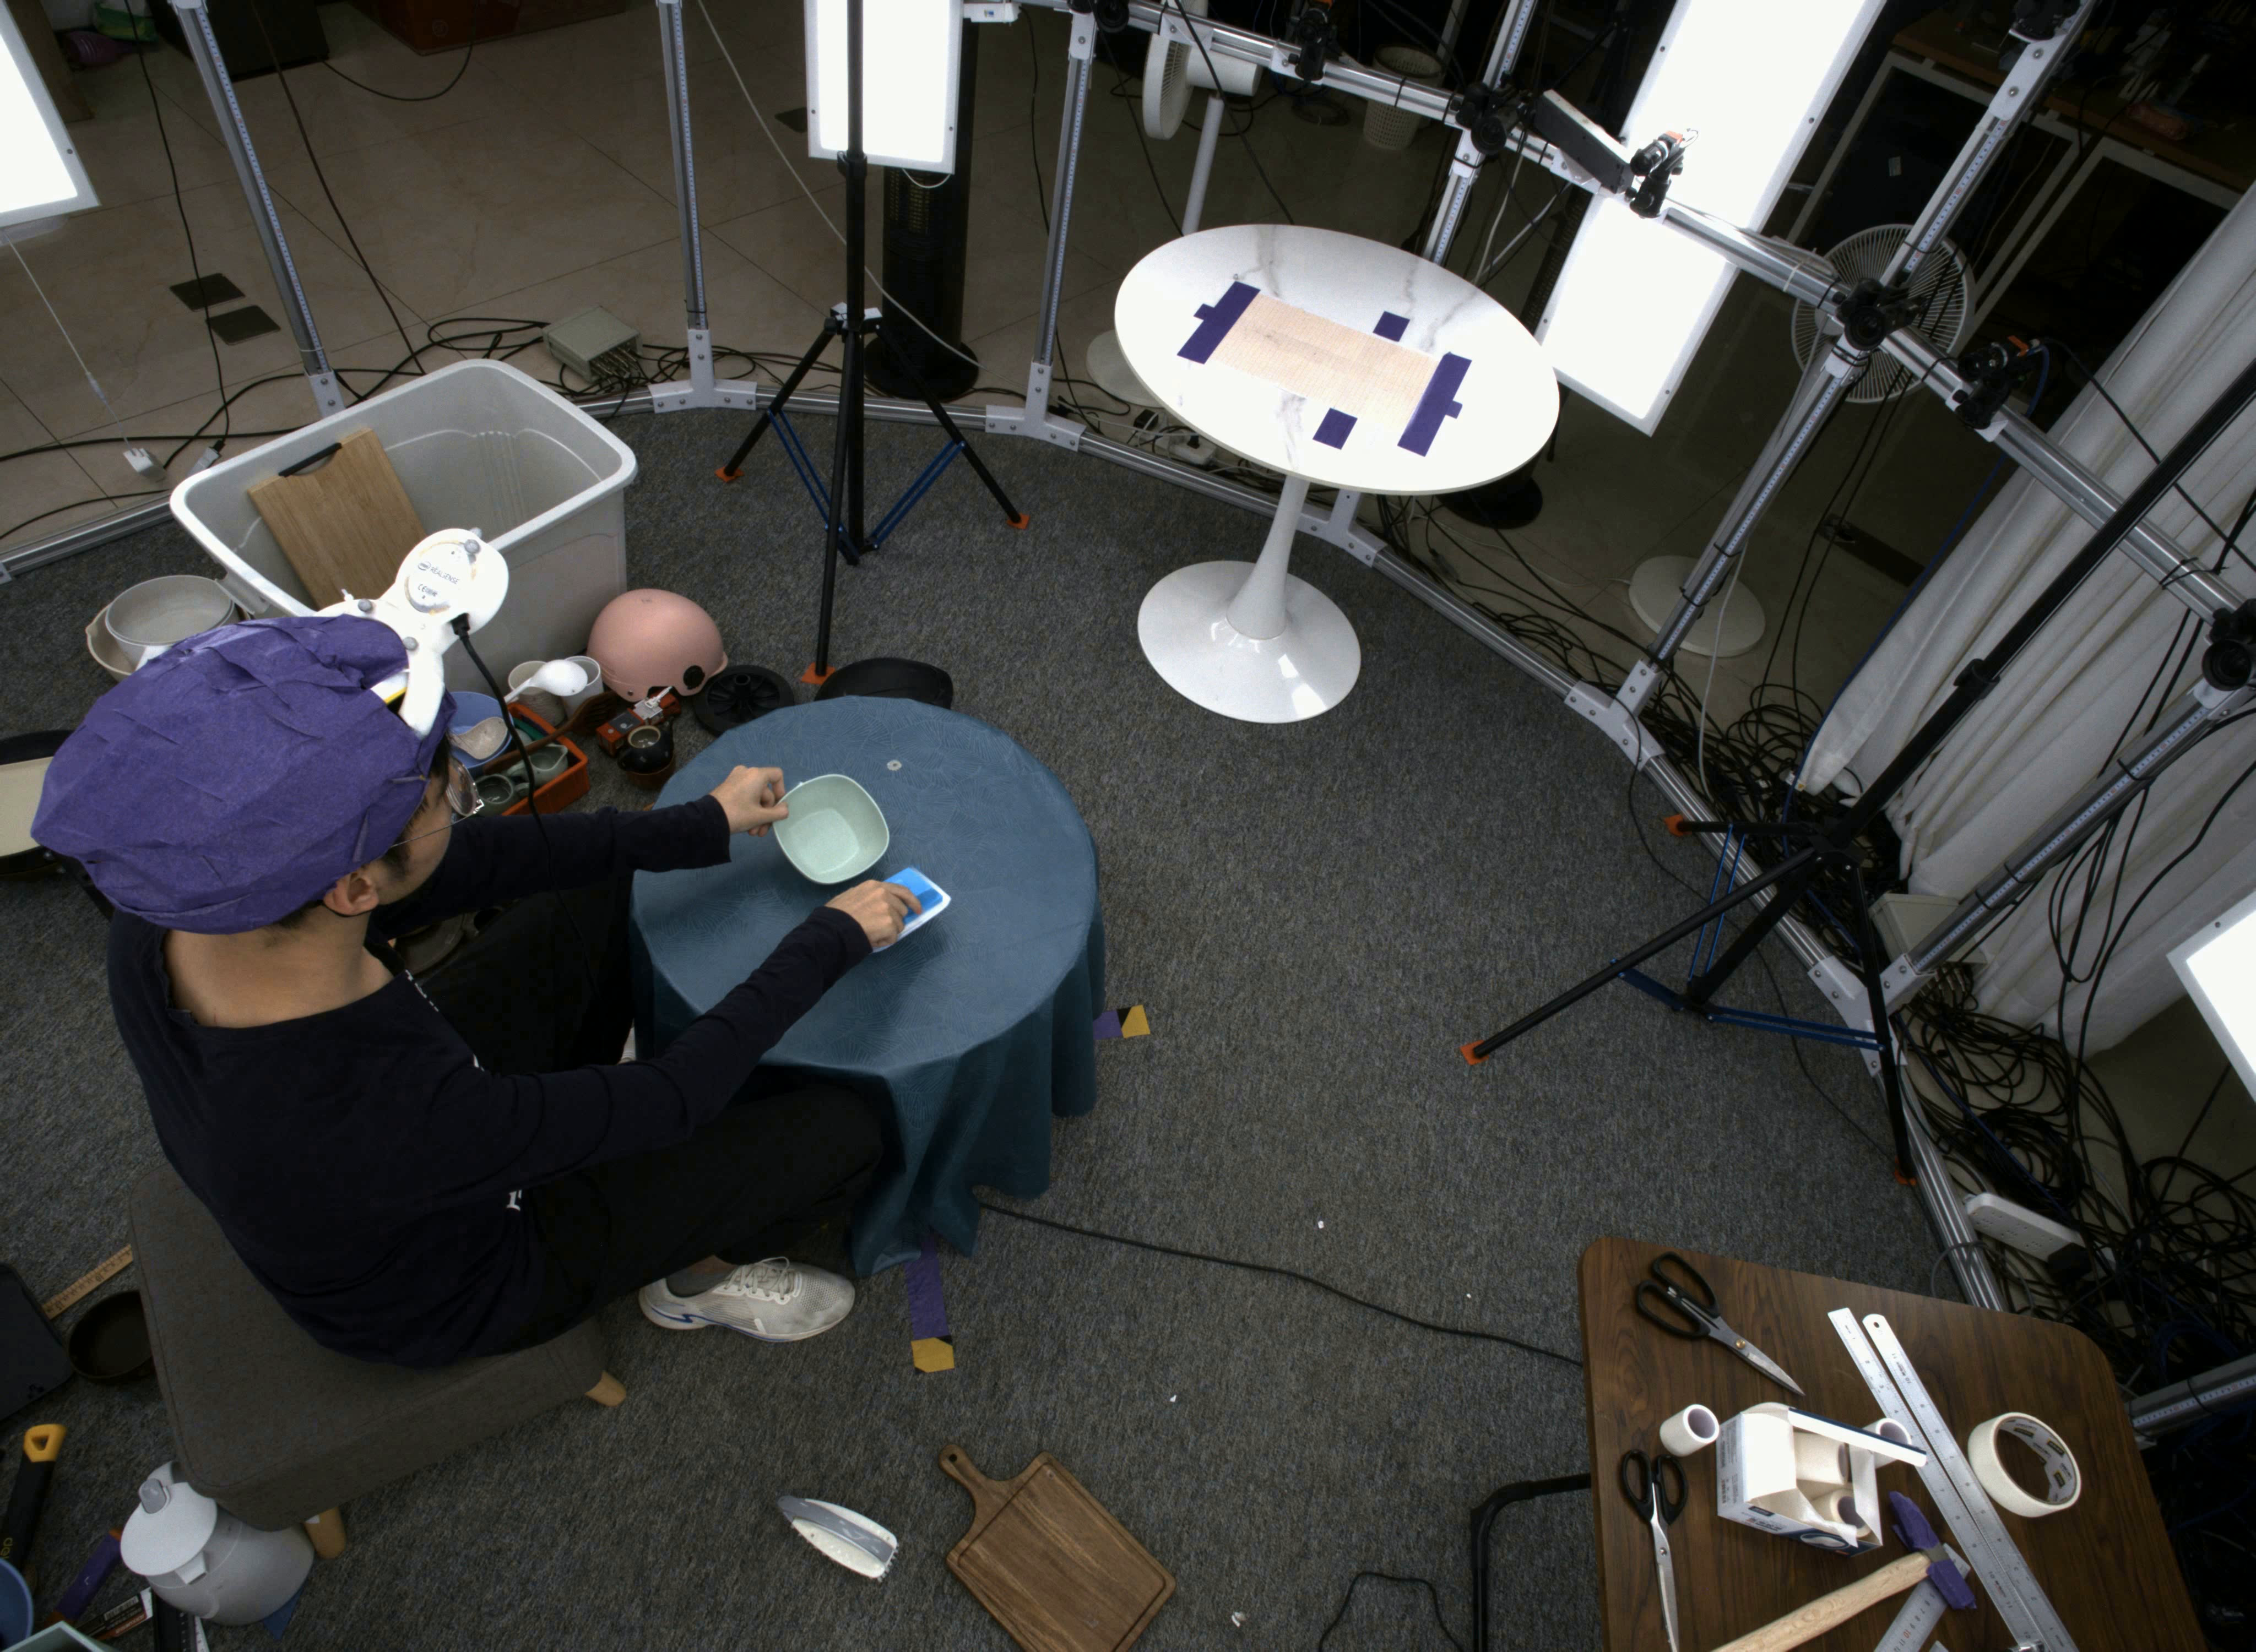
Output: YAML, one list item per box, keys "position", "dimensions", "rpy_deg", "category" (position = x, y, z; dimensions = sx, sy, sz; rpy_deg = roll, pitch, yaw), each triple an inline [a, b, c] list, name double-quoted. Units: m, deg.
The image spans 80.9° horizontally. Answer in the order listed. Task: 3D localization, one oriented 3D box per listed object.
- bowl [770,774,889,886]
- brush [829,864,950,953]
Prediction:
- position: [-0.389, 0.012, 1.674]
  dimensions: [0.153, 0.058, 0.150]
  rpy_deg: [10, 67, -22]
  category: "bowl"
- position: [-0.290, 0.092, 1.587]
  dimensions: [0.081, 0.057, 0.144]
  rpy_deg: [35, 46, 27]
  category: "brush"
